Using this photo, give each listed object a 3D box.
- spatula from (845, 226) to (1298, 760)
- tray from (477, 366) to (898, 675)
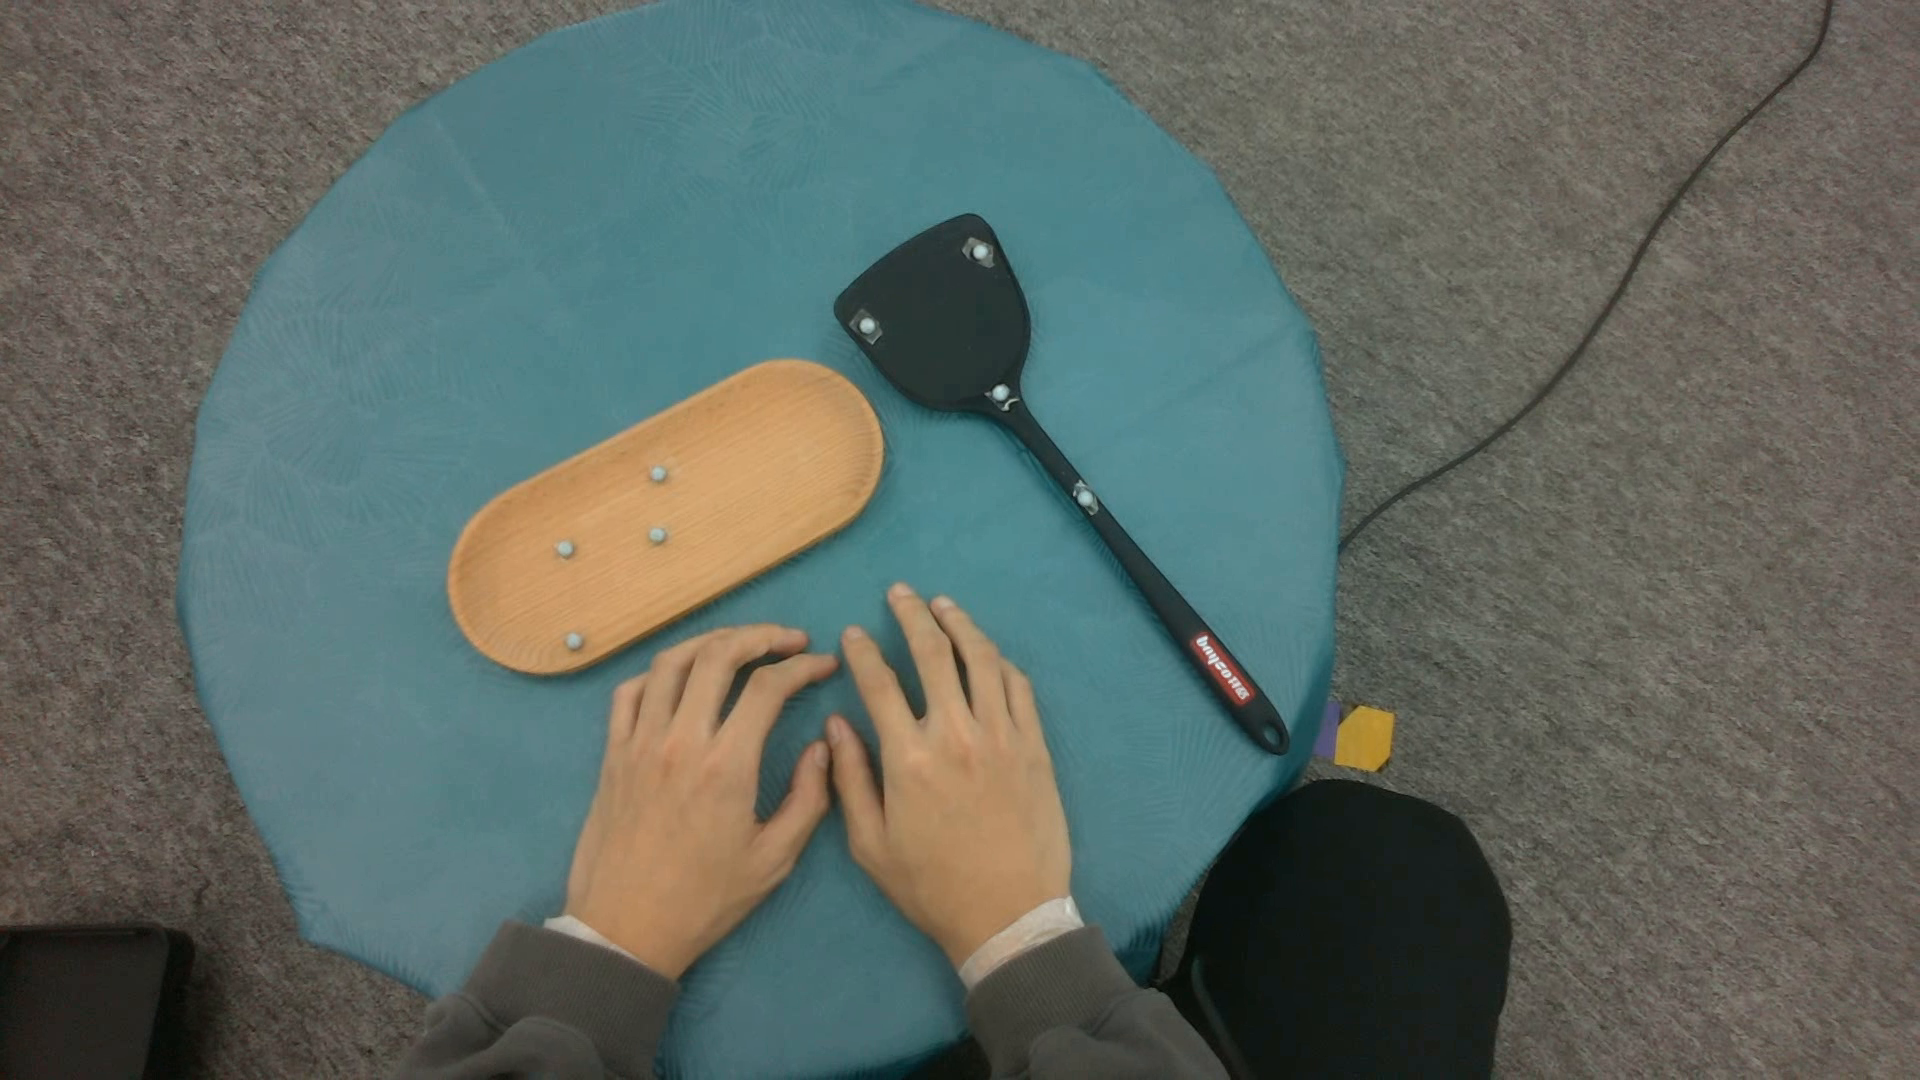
[{"bbox_3d":[0.069,-0.020,0.714,0.100,0.040,0.326,-36,76,-10],"label":"spatula"},{"bbox_3d":[-0.140,-0.011,0.719,0.231,0.020,0.102,-29,76,-11],"label":"tray"}]
